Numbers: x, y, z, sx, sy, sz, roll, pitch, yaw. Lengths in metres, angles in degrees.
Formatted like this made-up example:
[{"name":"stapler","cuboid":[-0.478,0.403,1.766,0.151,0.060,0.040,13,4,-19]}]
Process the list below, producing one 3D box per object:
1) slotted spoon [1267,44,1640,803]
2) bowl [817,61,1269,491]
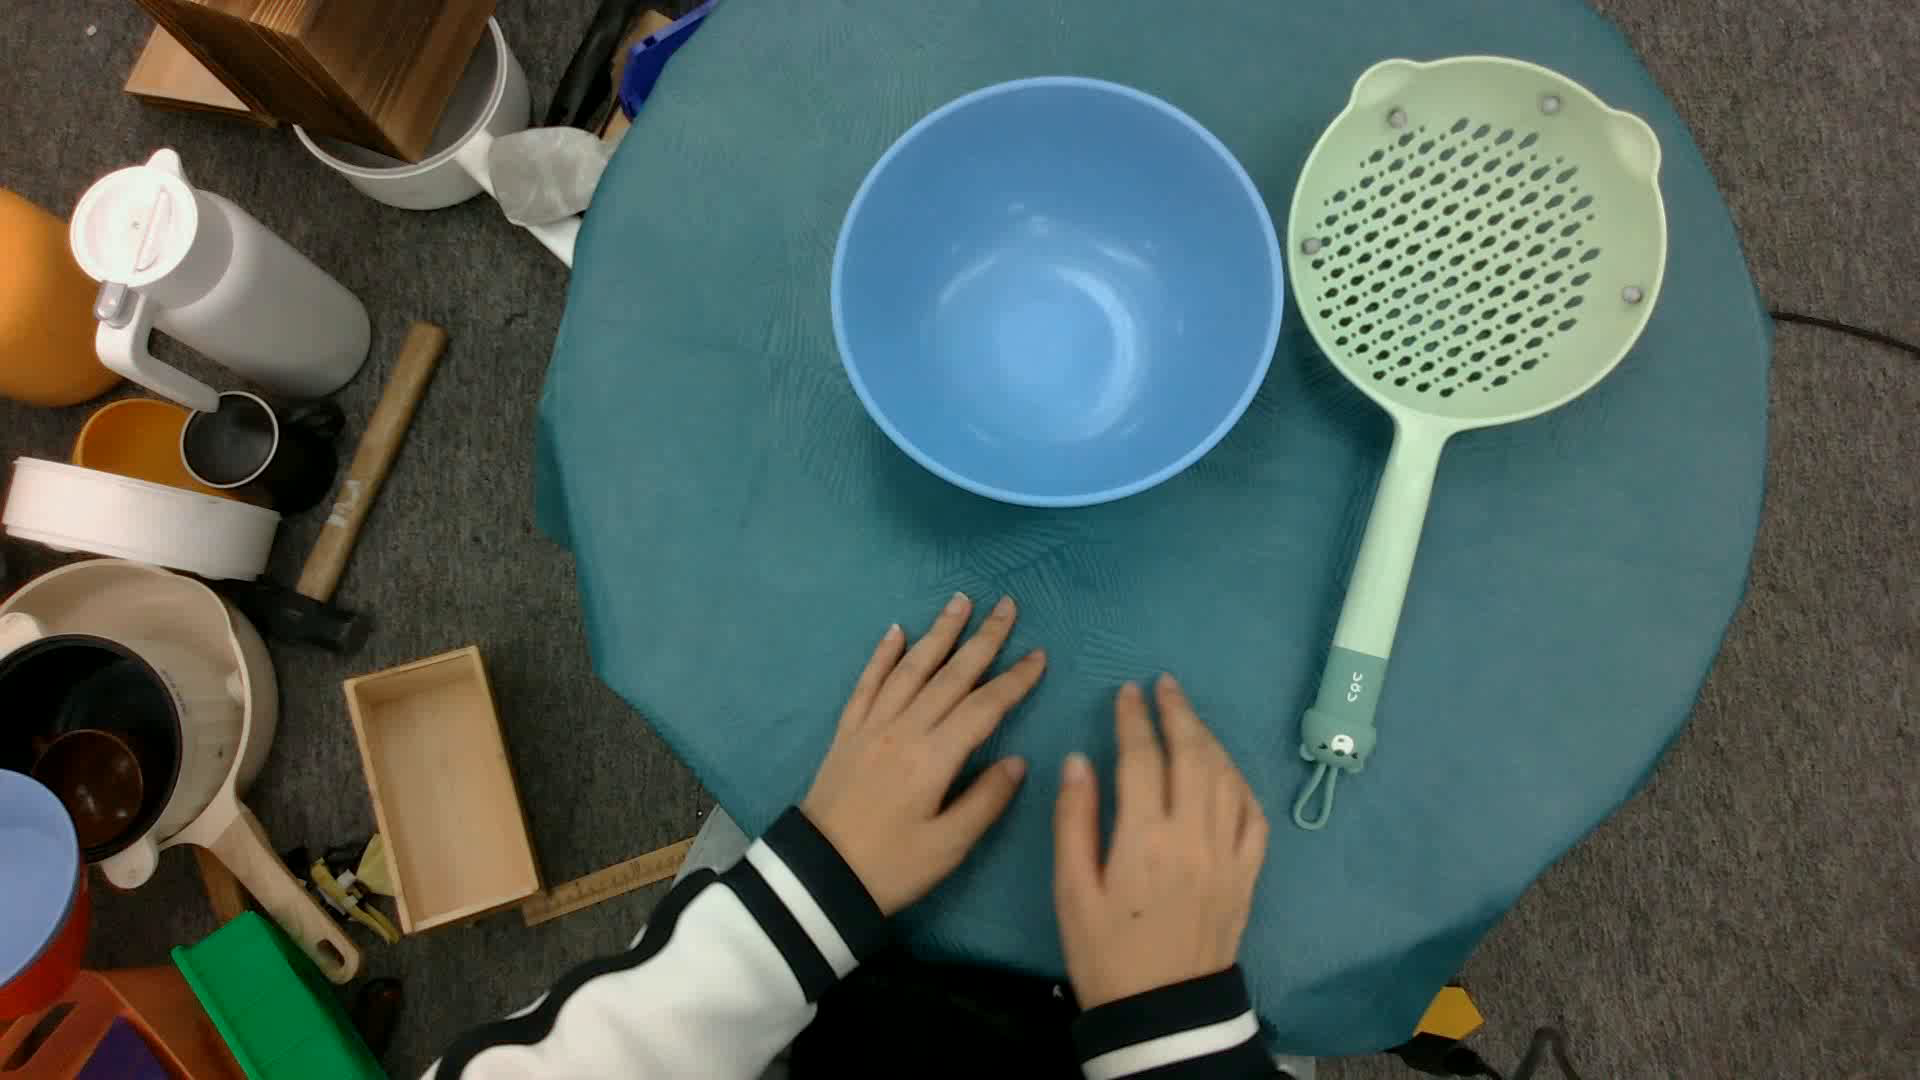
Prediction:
[{"name":"slotted spoon","cuboid":[0.203,-0.051,0.646,0.169,0.075,0.359,15,81,5]},{"name":"bowl","cuboid":[0.037,-0.110,0.642,0.196,0.095,0.197,0,79,1]}]
